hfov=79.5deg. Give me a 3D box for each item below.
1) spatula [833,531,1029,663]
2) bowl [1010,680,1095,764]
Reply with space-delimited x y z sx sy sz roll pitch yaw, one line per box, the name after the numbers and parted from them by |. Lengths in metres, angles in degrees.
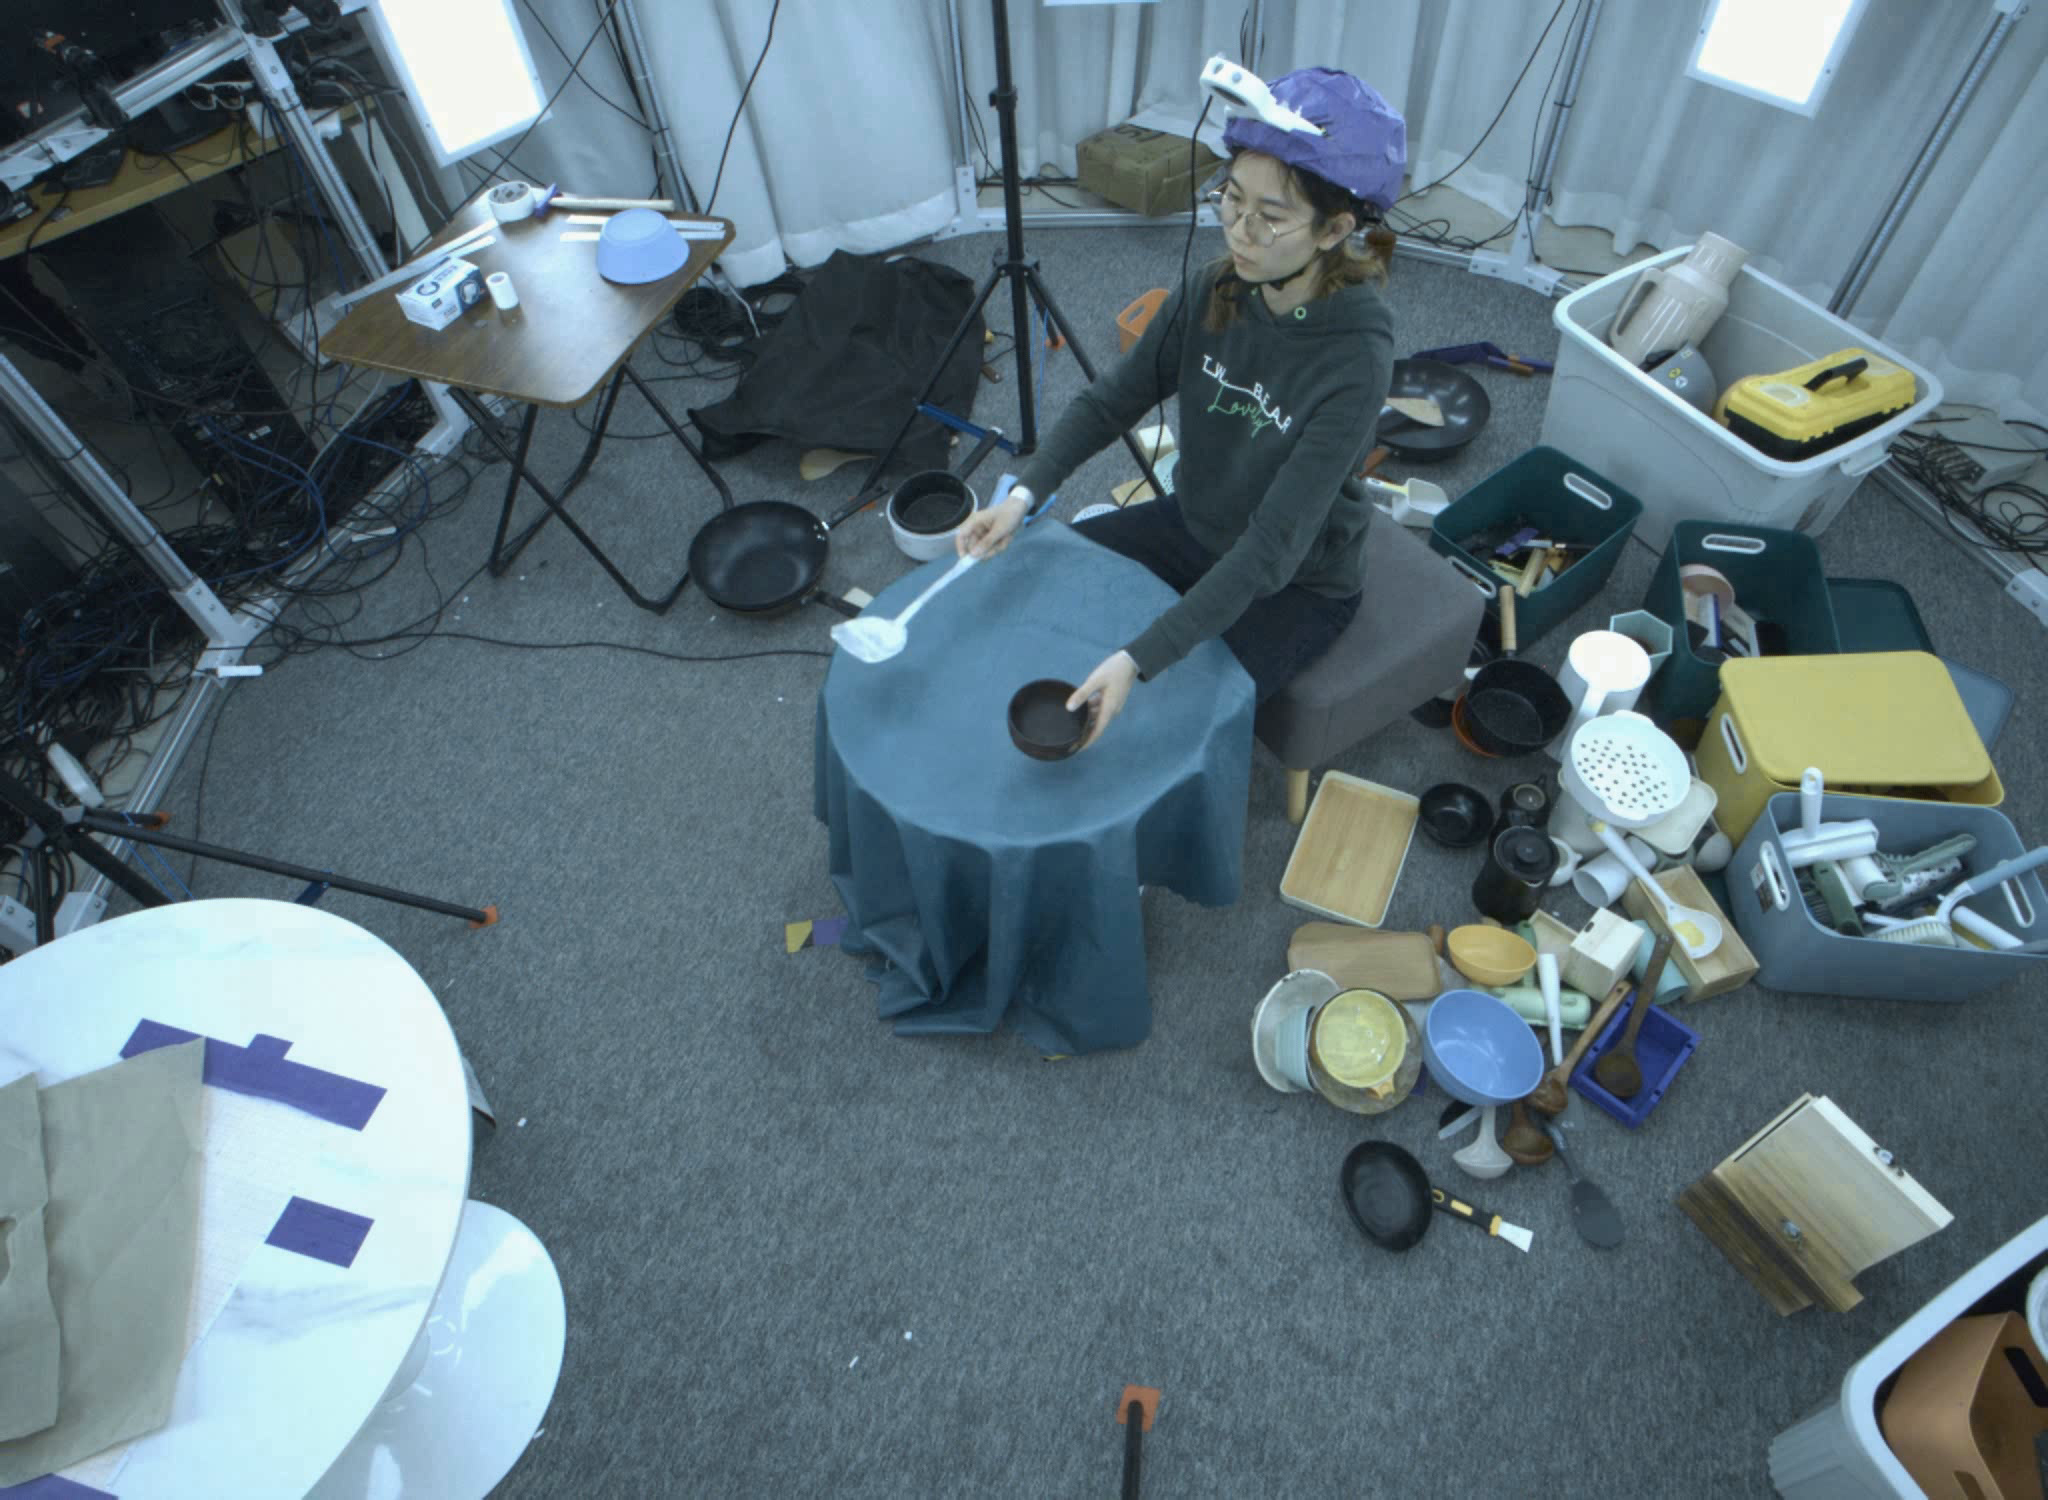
-0.128 -0.244 1.832 0.097 0.045 0.367 37 65 23 | spatula
0.039 -0.031 1.711 0.118 0.070 0.117 2 58 -3 | bowl
